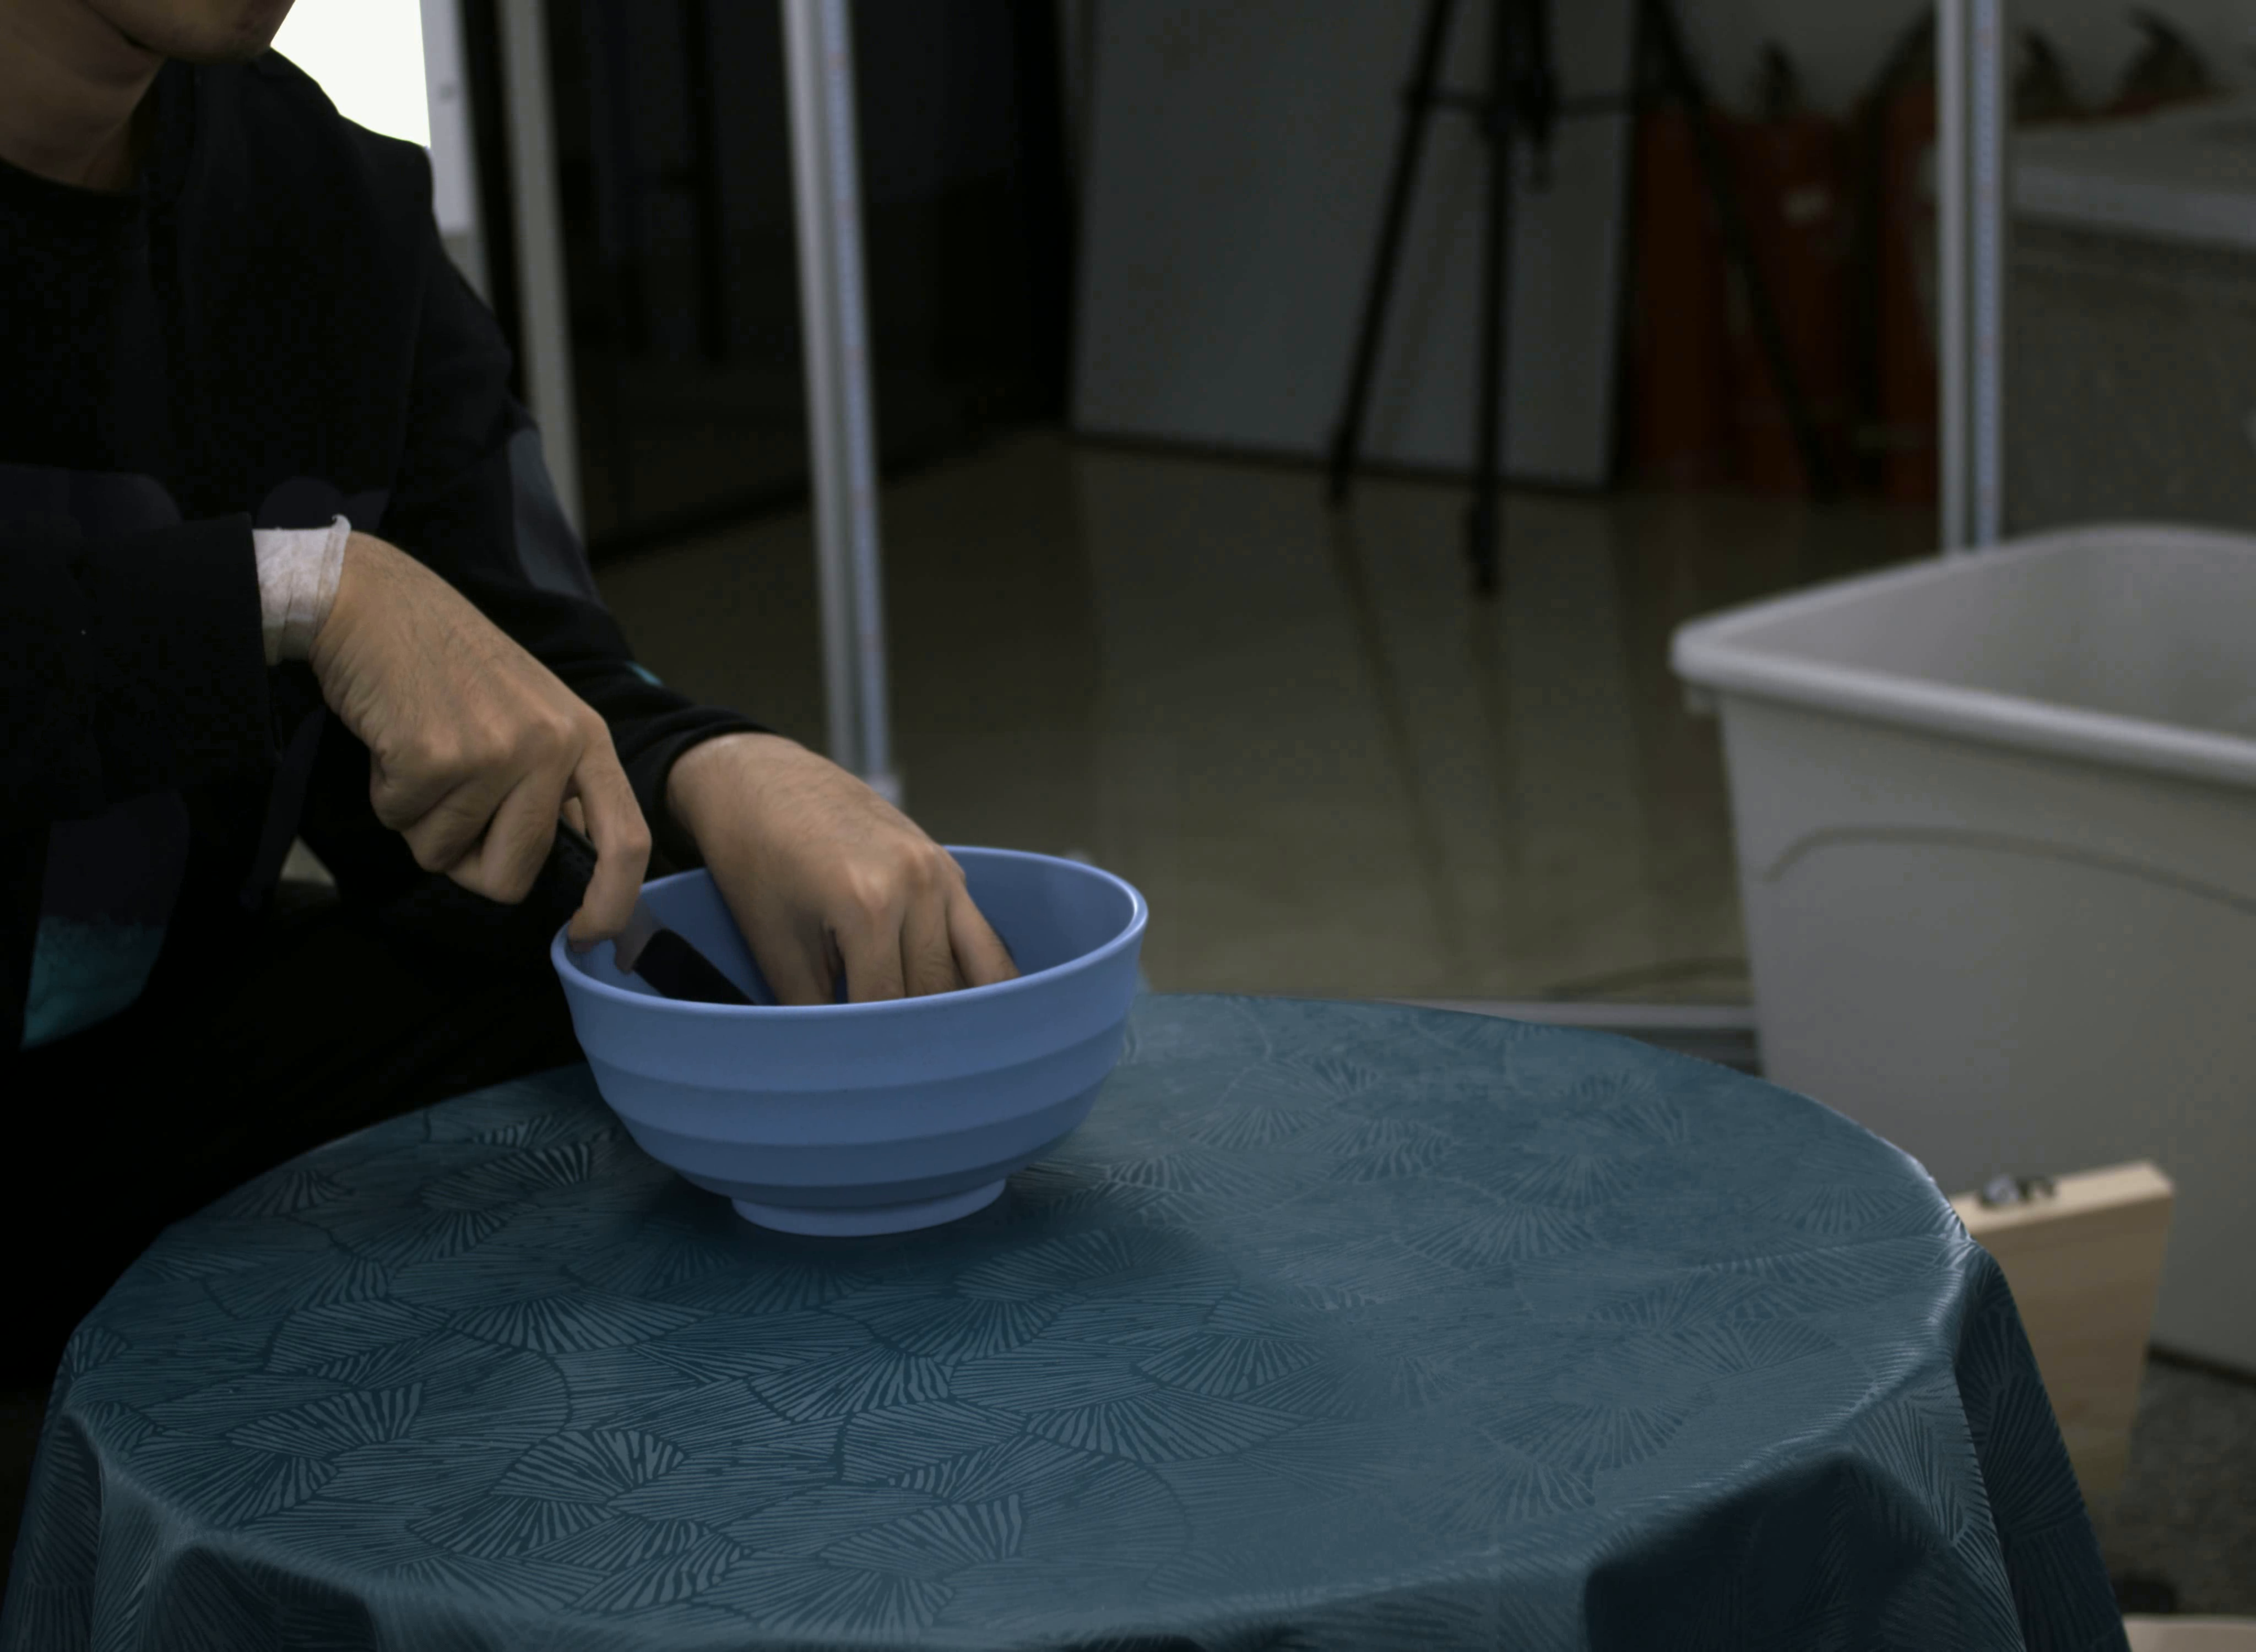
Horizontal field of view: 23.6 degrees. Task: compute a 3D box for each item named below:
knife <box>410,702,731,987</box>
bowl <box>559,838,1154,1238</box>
[{"bbox_3d":[-0.153,0.043,1.773,0.226,0.026,0.017,44,20,4],"label":"knife"},{"bbox_3d":[-0.087,0.075,1.773,0.194,0.096,0.197,-1,15,-1],"label":"bowl"}]
